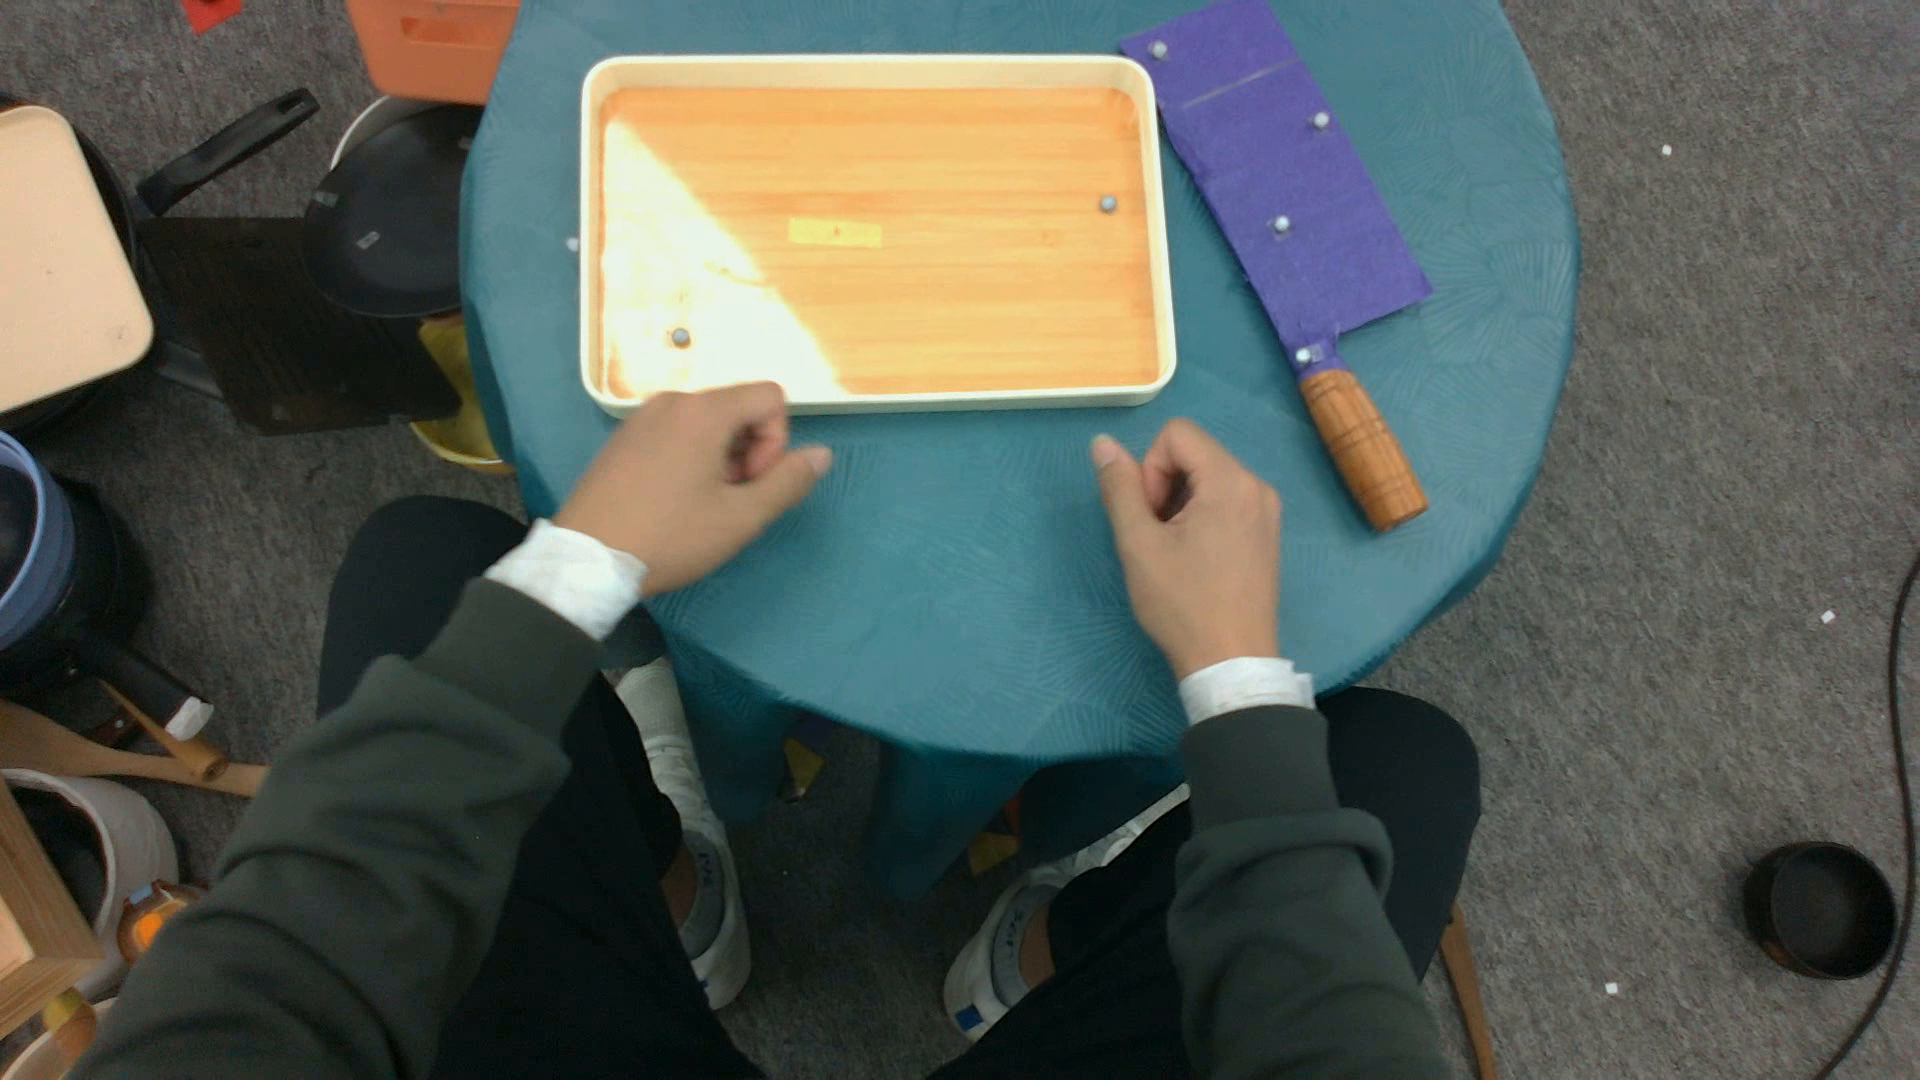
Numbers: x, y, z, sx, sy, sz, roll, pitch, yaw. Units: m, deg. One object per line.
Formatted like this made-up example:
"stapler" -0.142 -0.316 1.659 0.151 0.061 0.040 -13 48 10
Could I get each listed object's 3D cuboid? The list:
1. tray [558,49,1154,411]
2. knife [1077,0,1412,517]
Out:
"tray" -0.054 -0.164 0.719 0.300 0.027 0.192 -2 77 -6
"knife" 0.178 -0.168 0.743 0.104 0.032 0.315 -25 80 -10
